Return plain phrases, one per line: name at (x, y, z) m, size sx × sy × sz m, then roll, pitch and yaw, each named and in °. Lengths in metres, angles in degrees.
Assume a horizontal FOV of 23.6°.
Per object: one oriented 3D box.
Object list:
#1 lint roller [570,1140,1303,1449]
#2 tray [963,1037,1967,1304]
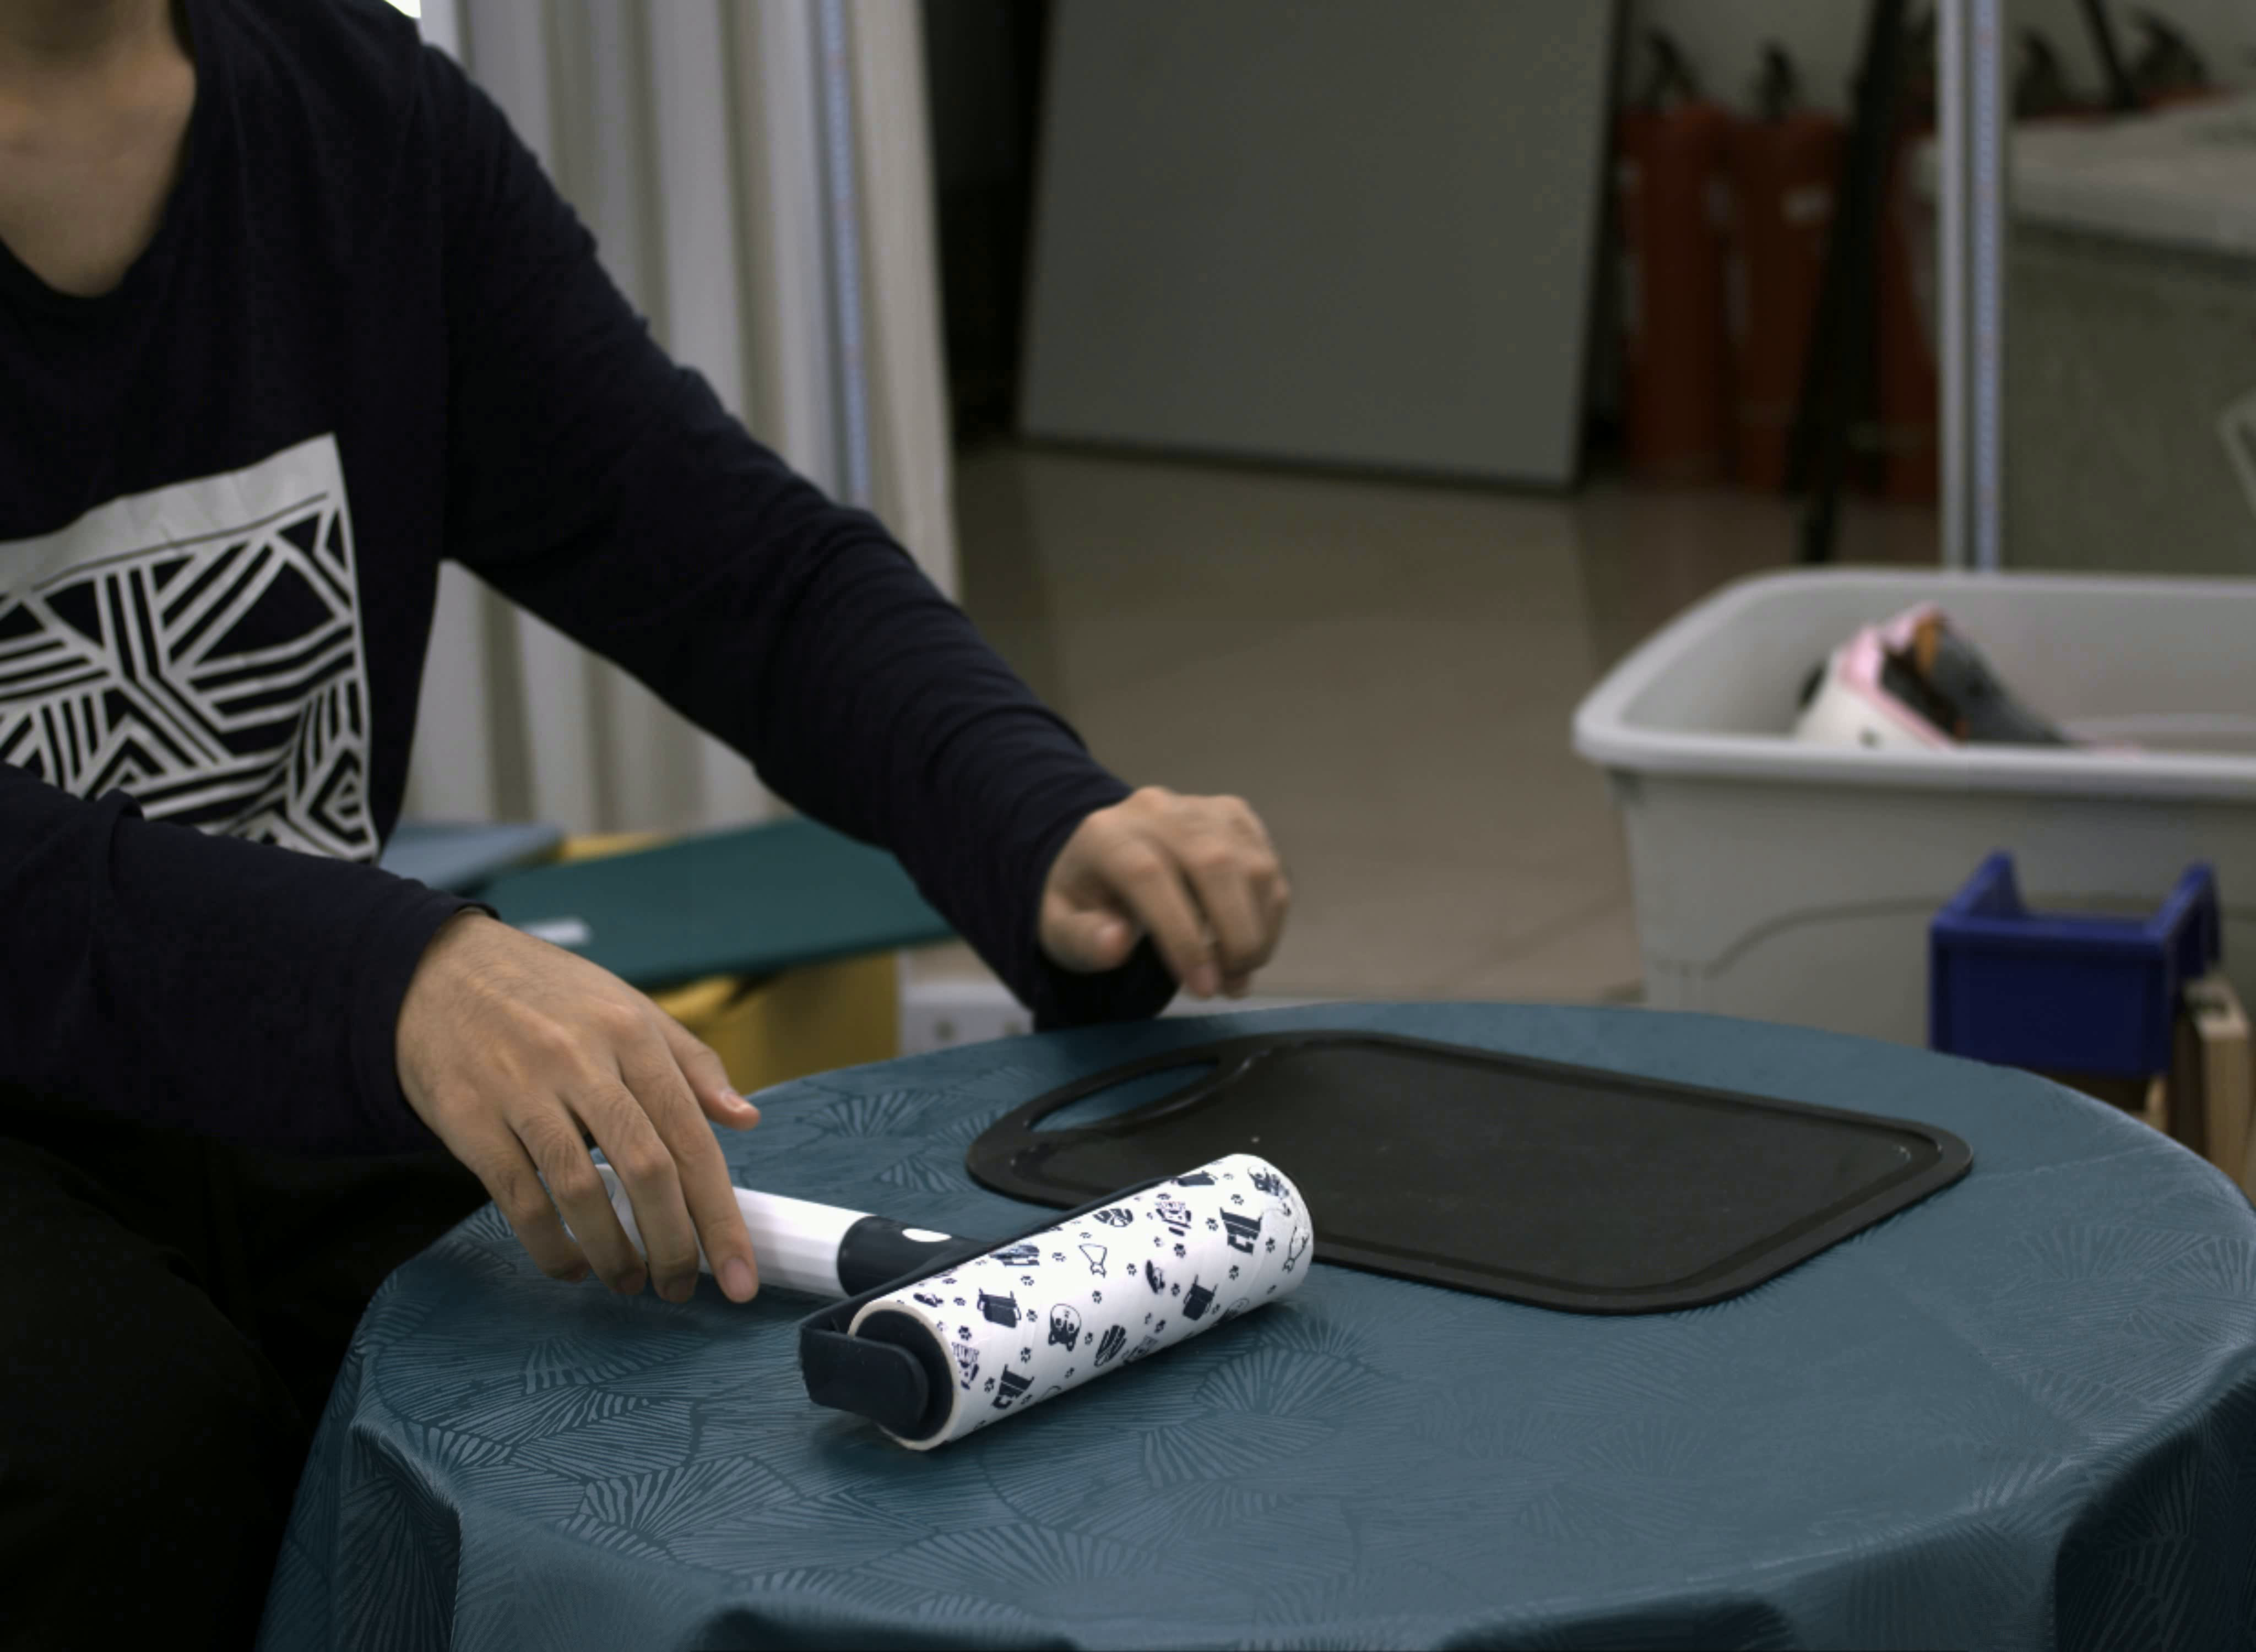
lint roller at (-0.088, 0.133, 1.669) m, size 0.249 × 0.051 × 0.173 m, roll 4°, pitch 17°, yaw 43°
tray at (0.102, 0.109, 1.782) m, size 0.328 × 0.010 × 0.207 m, roll 8°, pitch 18°, yaw 41°
